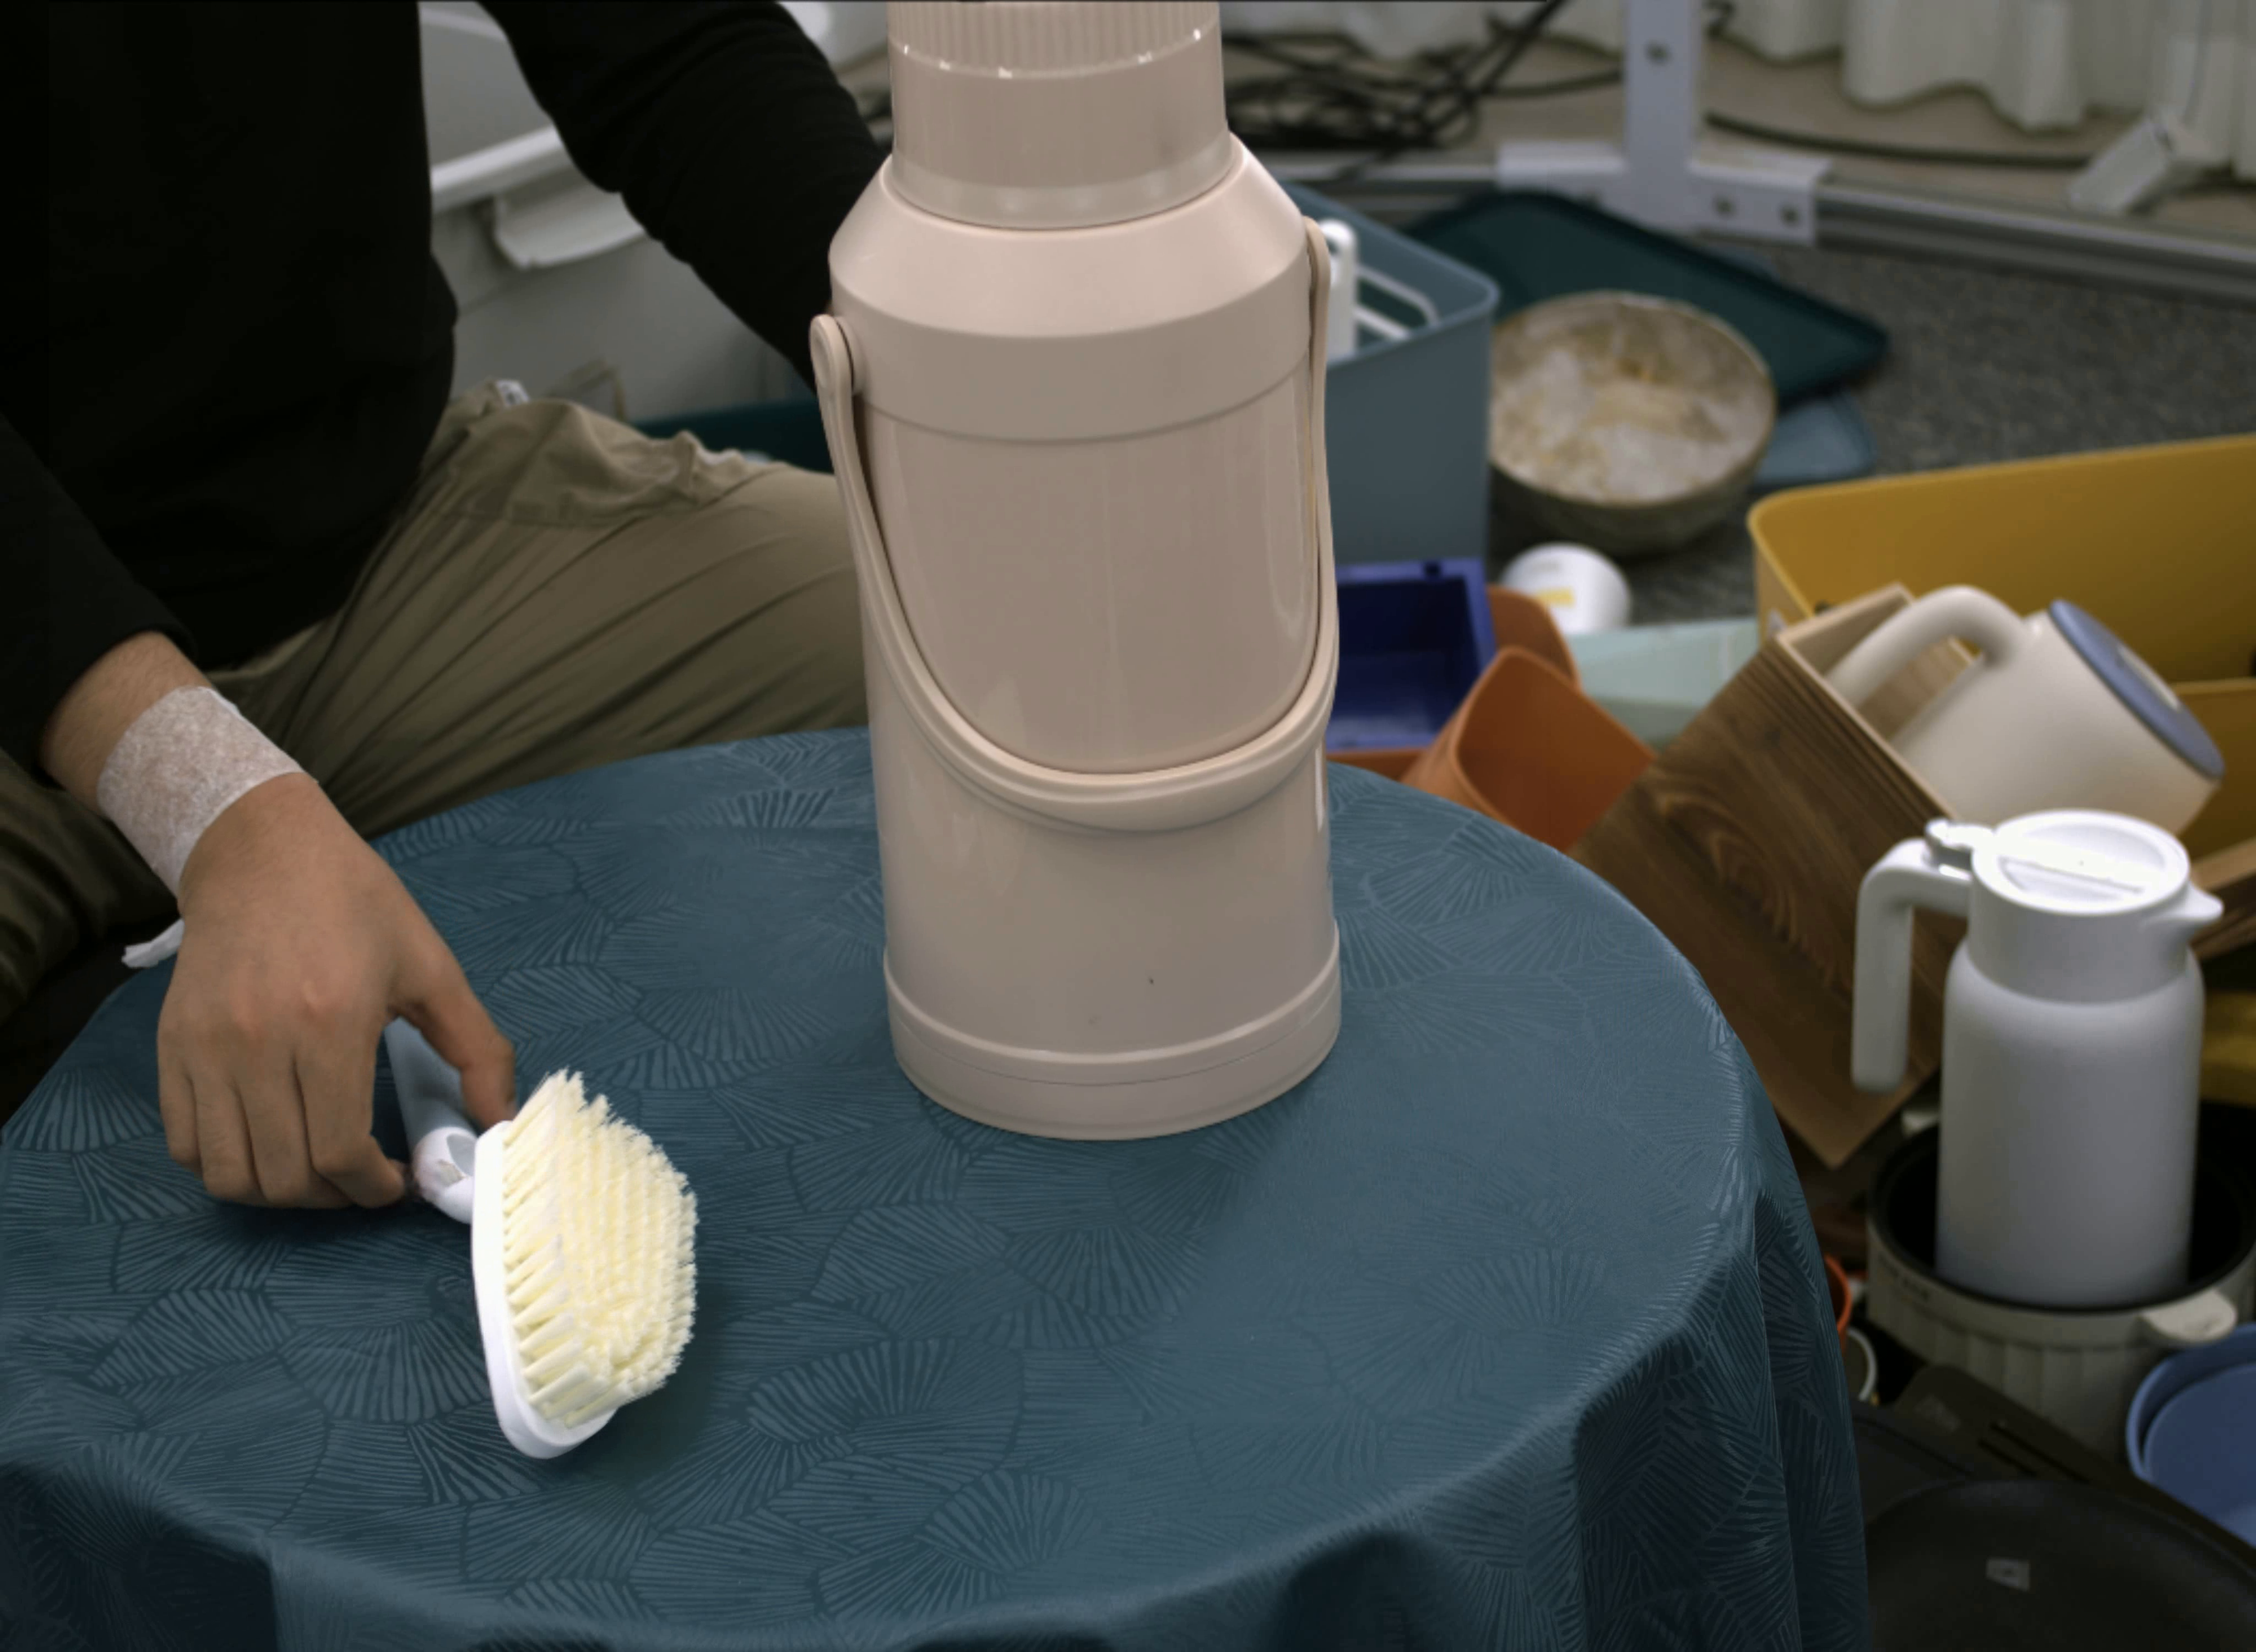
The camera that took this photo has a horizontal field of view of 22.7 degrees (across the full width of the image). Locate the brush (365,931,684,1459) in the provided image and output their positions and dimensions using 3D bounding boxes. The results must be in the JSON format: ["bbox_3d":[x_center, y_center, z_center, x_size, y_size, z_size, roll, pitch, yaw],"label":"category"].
[{"bbox_3d":[-0.198,0.094,1.853,0.084,0.082,0.329,-9,28,-10],"label":"brush"}]

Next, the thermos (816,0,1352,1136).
[{"bbox_3d":[-0.016,-0.112,1.889,0.176,0.402,0.208,-15,29,-19],"label":"thermos"}]
